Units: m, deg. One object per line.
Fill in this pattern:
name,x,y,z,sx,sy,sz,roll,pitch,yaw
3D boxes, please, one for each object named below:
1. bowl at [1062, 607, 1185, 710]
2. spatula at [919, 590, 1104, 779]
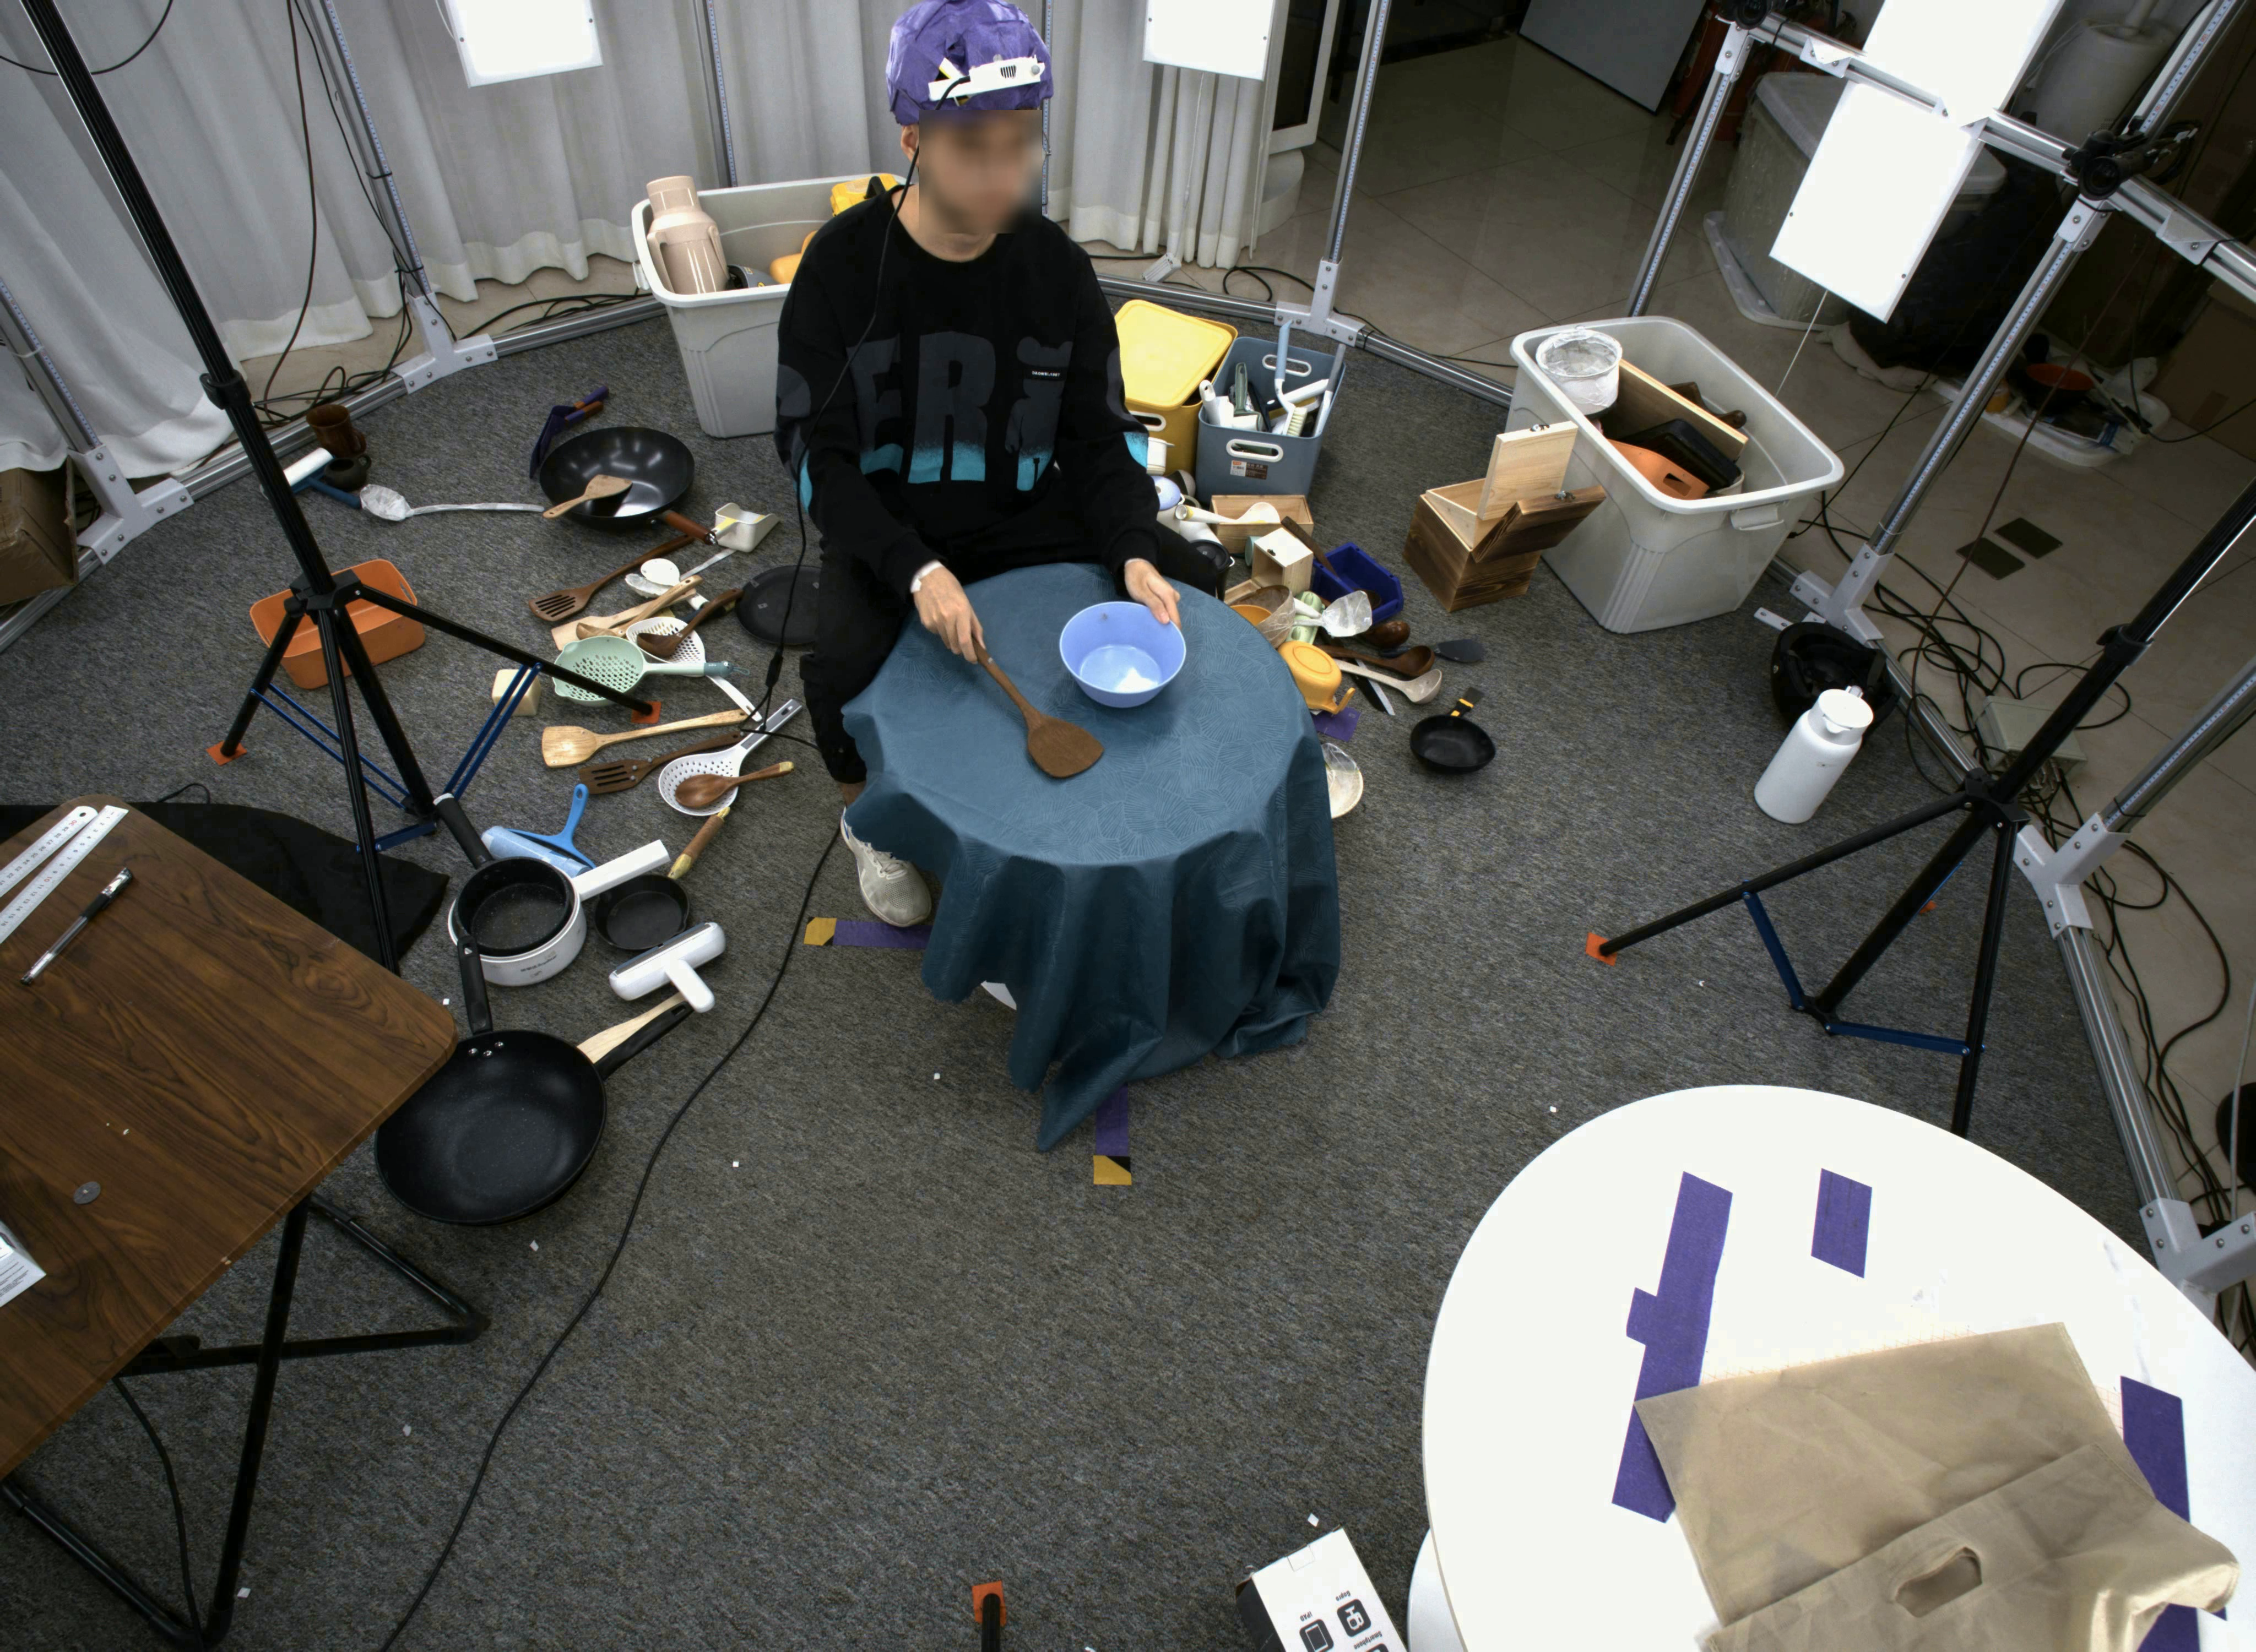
bowl,-0.008,-0.230,1.832,0.176,0.068,0.180,2,51,-3
spatula,-0.179,-0.209,1.814,0.097,0.015,0.391,-29,66,-29
